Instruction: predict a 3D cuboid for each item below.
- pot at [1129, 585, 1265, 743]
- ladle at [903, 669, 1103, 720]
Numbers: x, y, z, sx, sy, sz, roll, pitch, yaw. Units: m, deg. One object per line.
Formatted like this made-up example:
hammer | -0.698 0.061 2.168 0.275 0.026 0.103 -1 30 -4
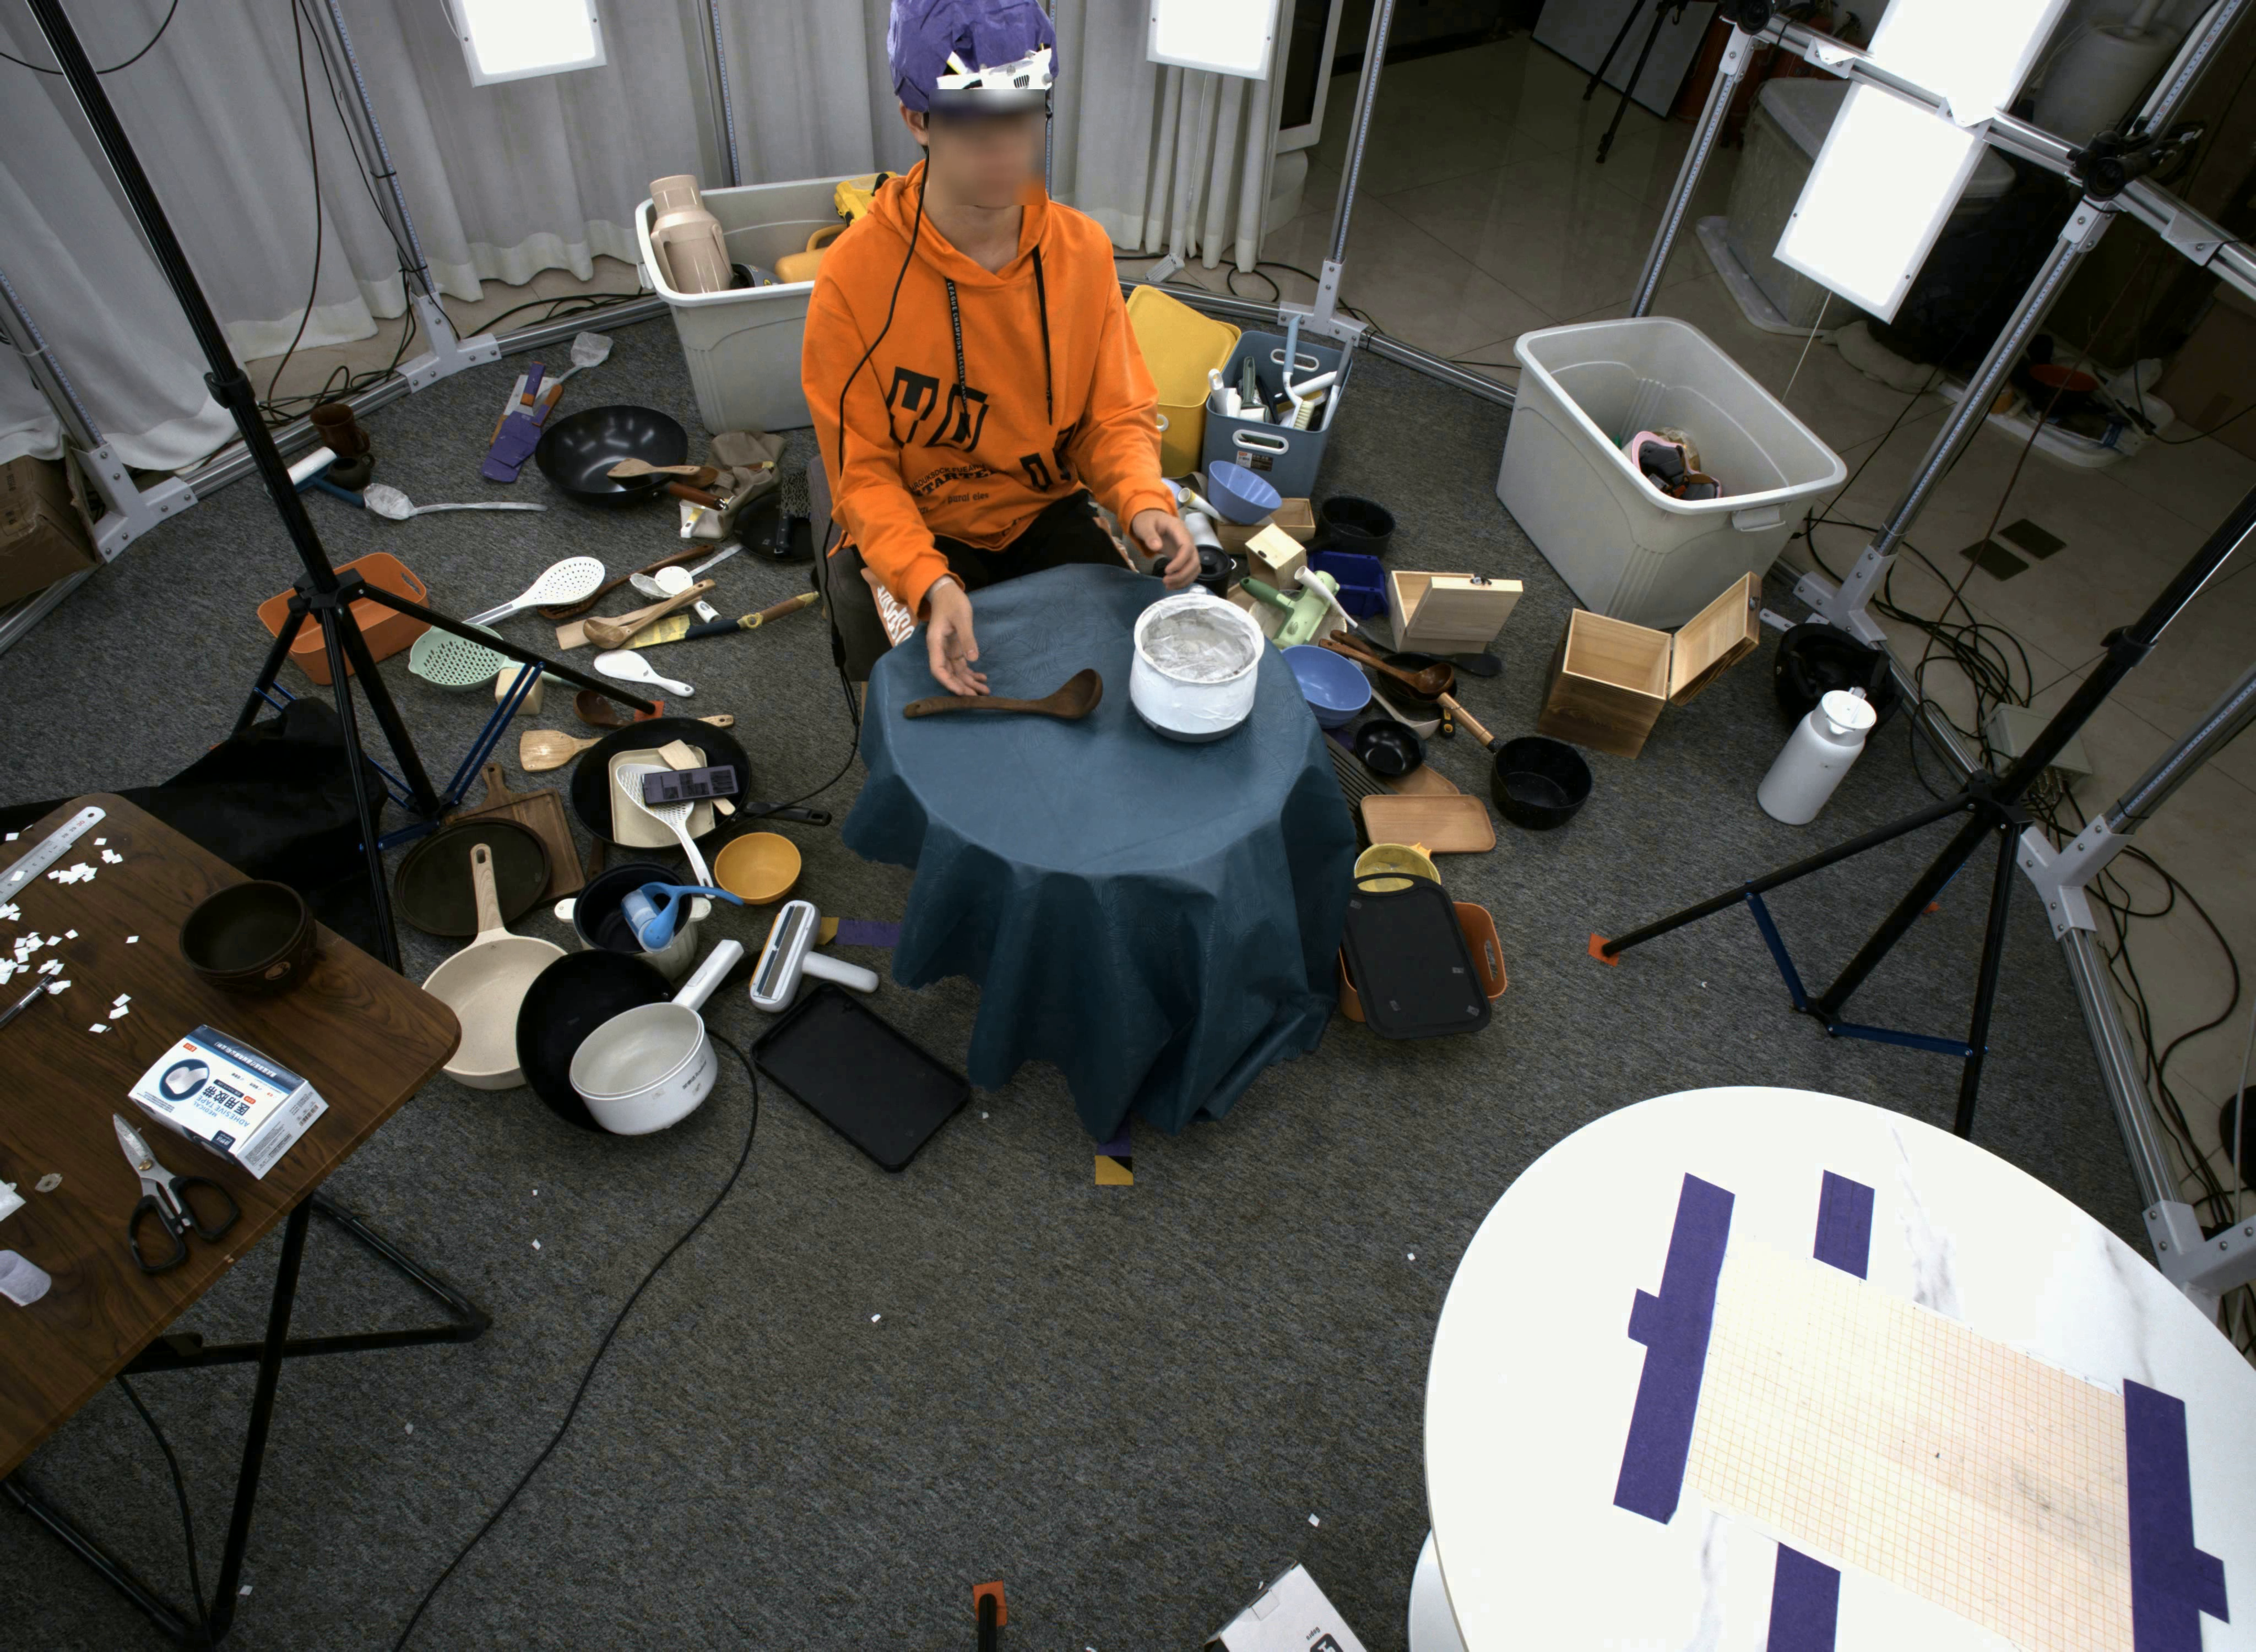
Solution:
pot | 0.092 -0.236 1.791 0.178 0.133 0.239 3 49 -3
ladle | -0.172 -0.181 1.769 0.274 0.069 0.078 0 46 -5
